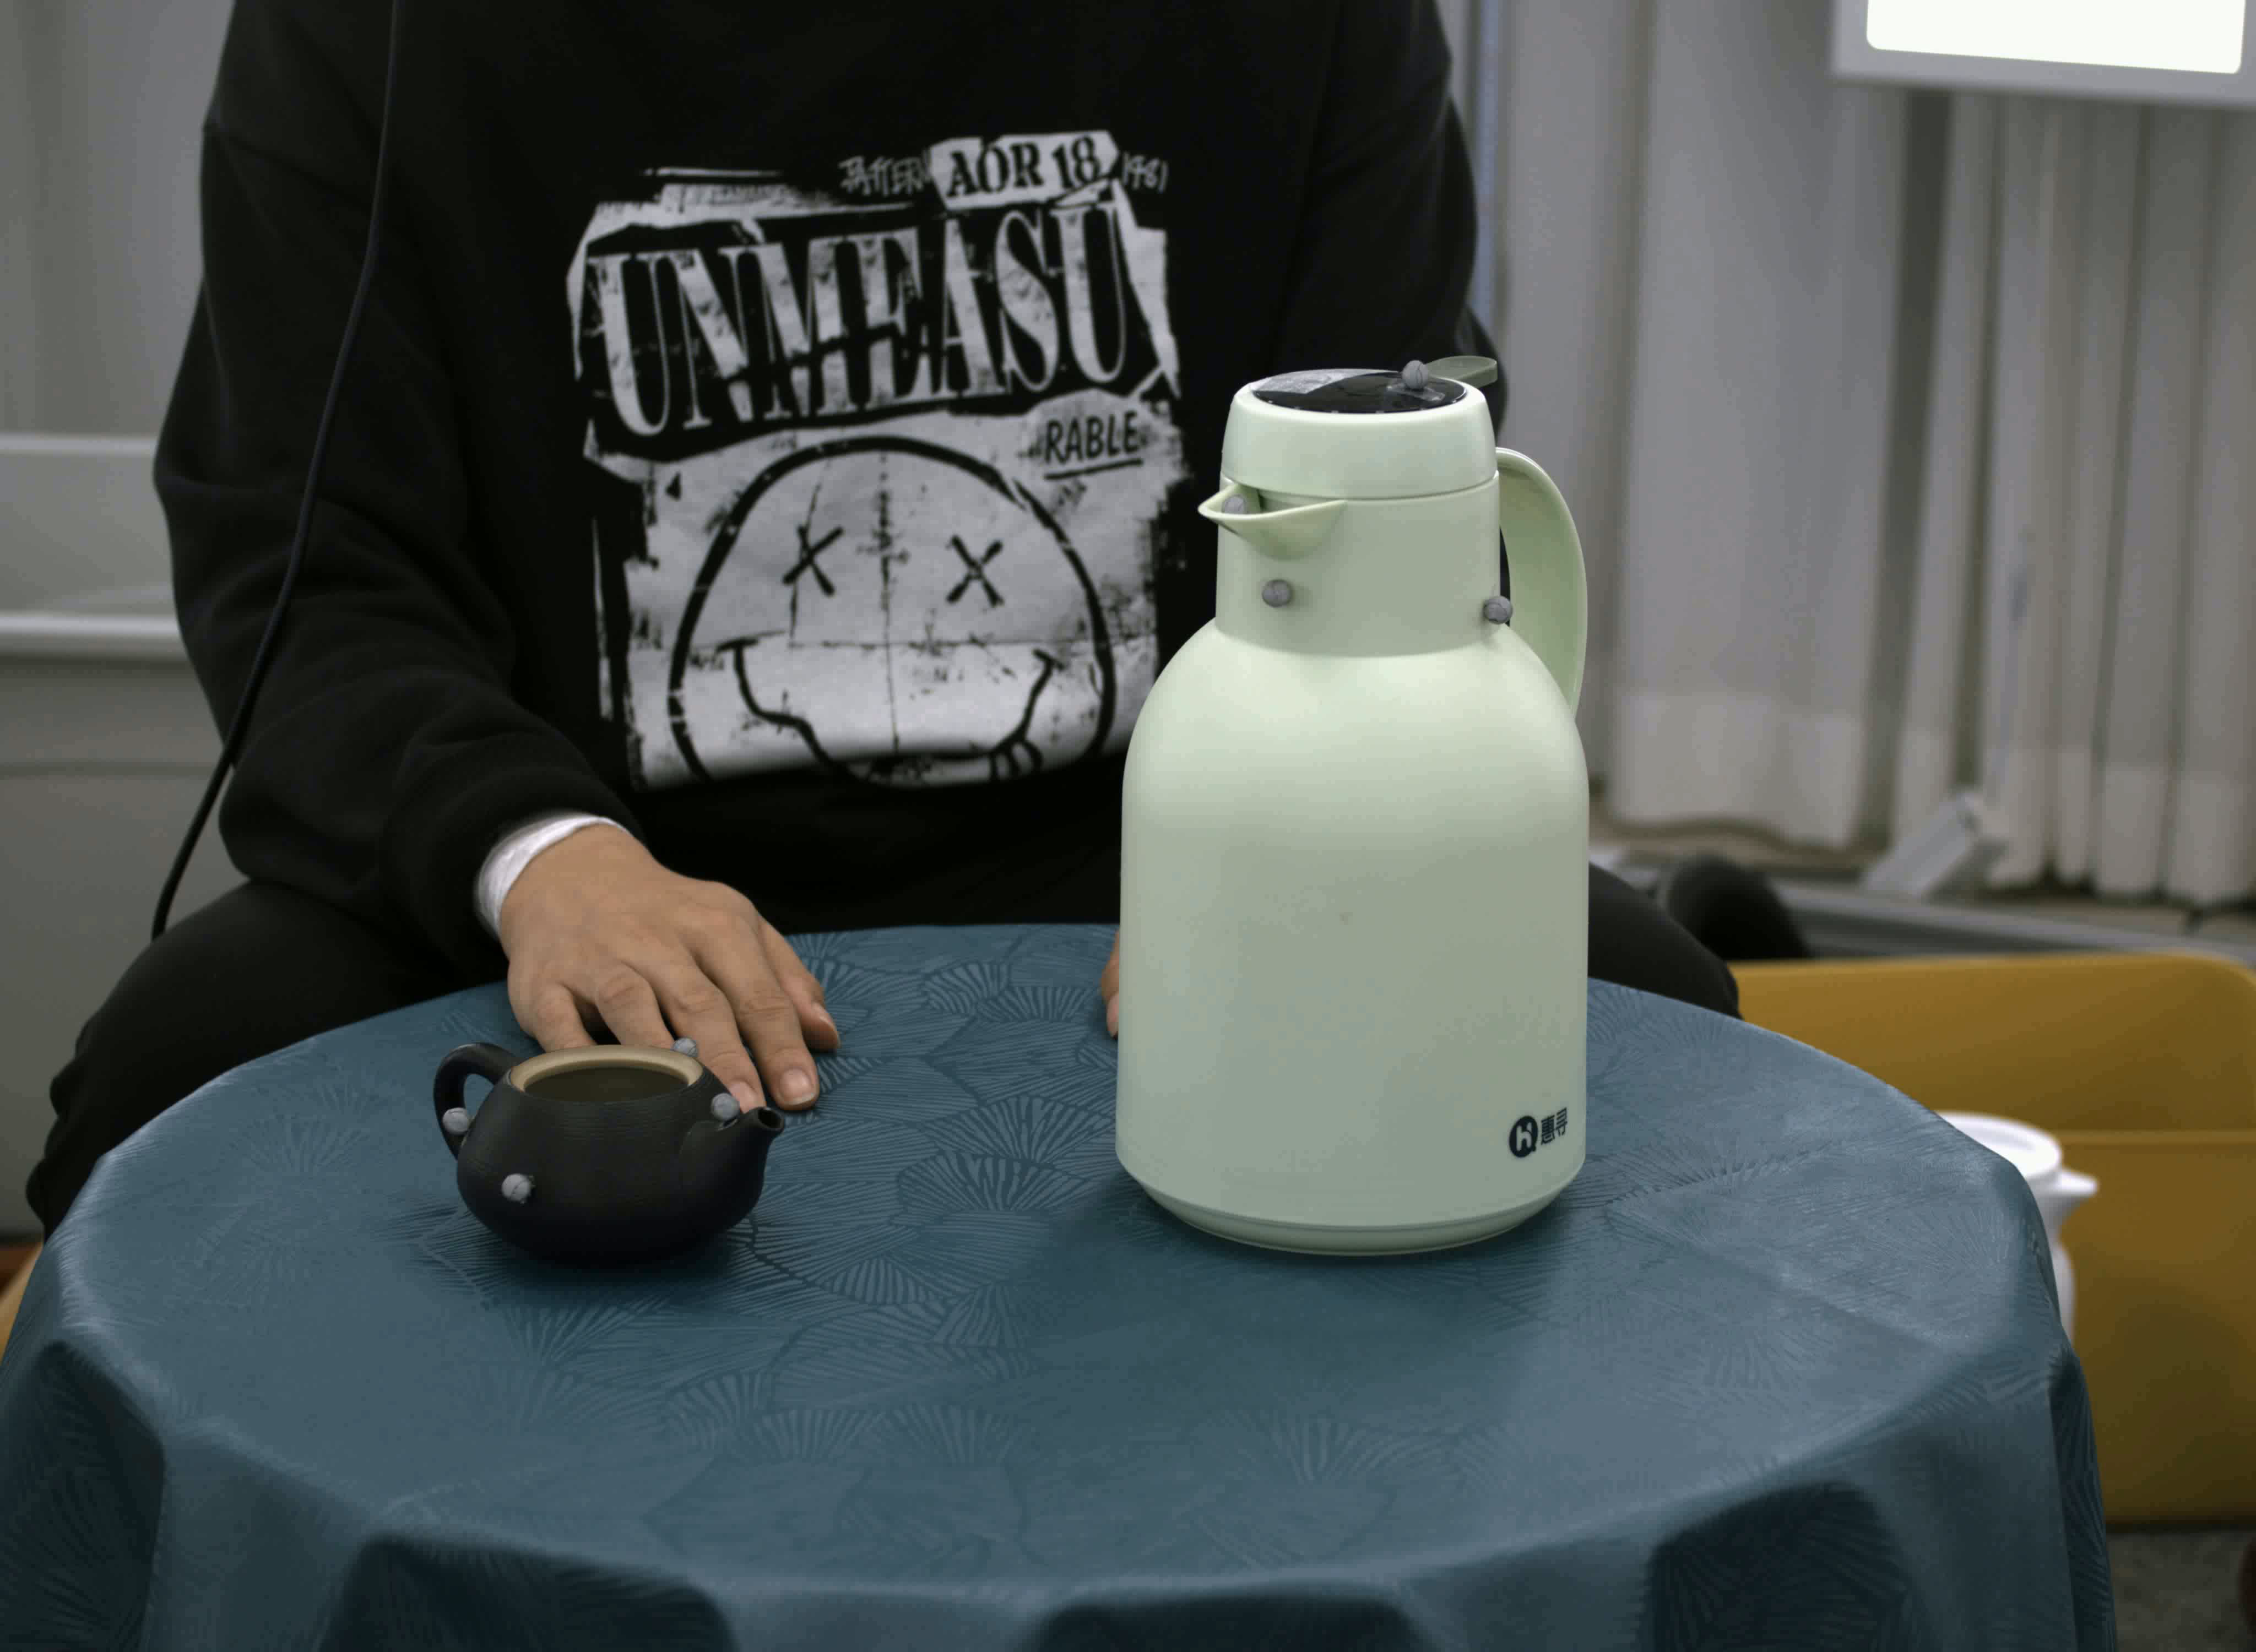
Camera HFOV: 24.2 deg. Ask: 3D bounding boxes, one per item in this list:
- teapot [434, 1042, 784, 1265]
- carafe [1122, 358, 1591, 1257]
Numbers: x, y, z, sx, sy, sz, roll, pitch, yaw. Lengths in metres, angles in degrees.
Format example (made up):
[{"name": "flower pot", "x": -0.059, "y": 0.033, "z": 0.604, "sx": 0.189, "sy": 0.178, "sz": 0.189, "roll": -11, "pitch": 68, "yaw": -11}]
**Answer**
[{"name": "teapot", "x": -0.156, "y": 0.098, "z": 1.569, "sx": 0.131, "sy": 0.053, "sz": 0.091, "roll": 11, "pitch": 17, "yaw": 33}, {"name": "carafe", "x": 0.078, "y": -0.011, "z": 1.599, "sx": 0.142, "sy": 0.258, "sz": 0.188, "roll": 9, "pitch": 15, "yaw": 34}]
